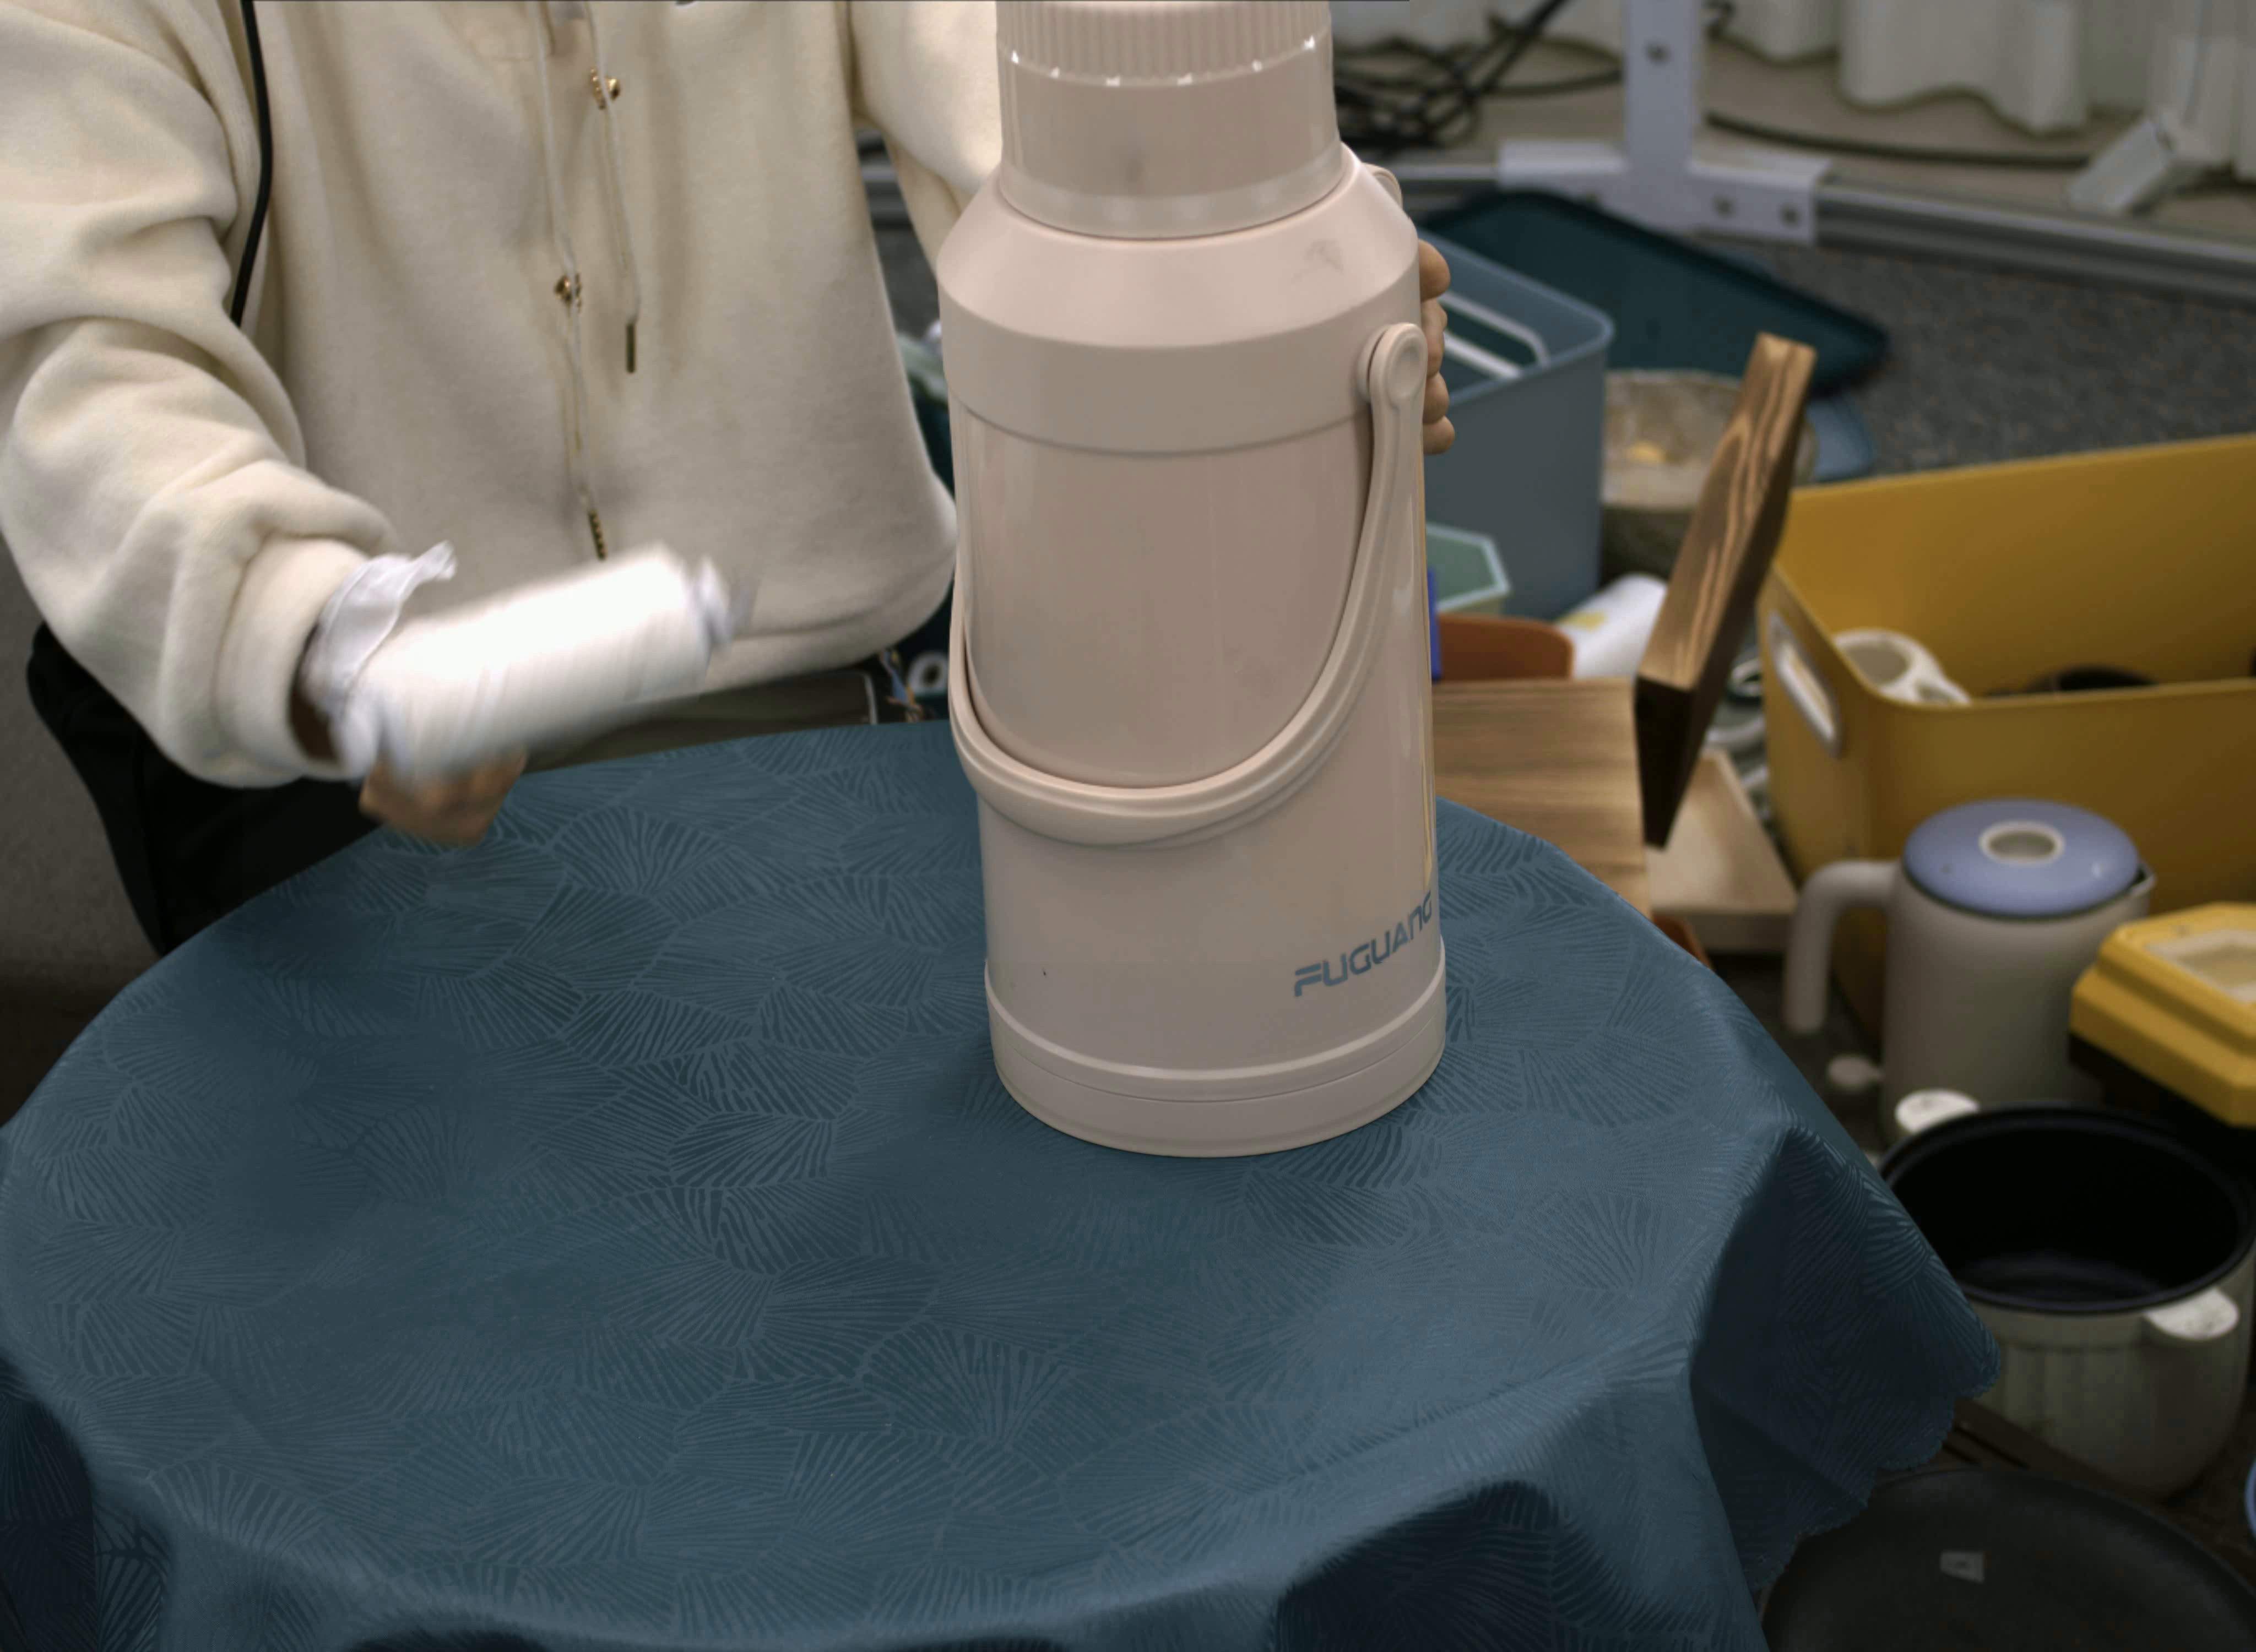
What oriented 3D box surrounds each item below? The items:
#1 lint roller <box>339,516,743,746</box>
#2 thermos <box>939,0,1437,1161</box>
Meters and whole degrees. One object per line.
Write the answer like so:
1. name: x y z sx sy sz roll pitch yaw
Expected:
1. lint roller: -0.205 -0.058 1.861 0.133 0.050 0.179 -20 3 -17
2. thermos: 0.029 -0.105 1.871 0.174 0.402 0.210 14 31 32
